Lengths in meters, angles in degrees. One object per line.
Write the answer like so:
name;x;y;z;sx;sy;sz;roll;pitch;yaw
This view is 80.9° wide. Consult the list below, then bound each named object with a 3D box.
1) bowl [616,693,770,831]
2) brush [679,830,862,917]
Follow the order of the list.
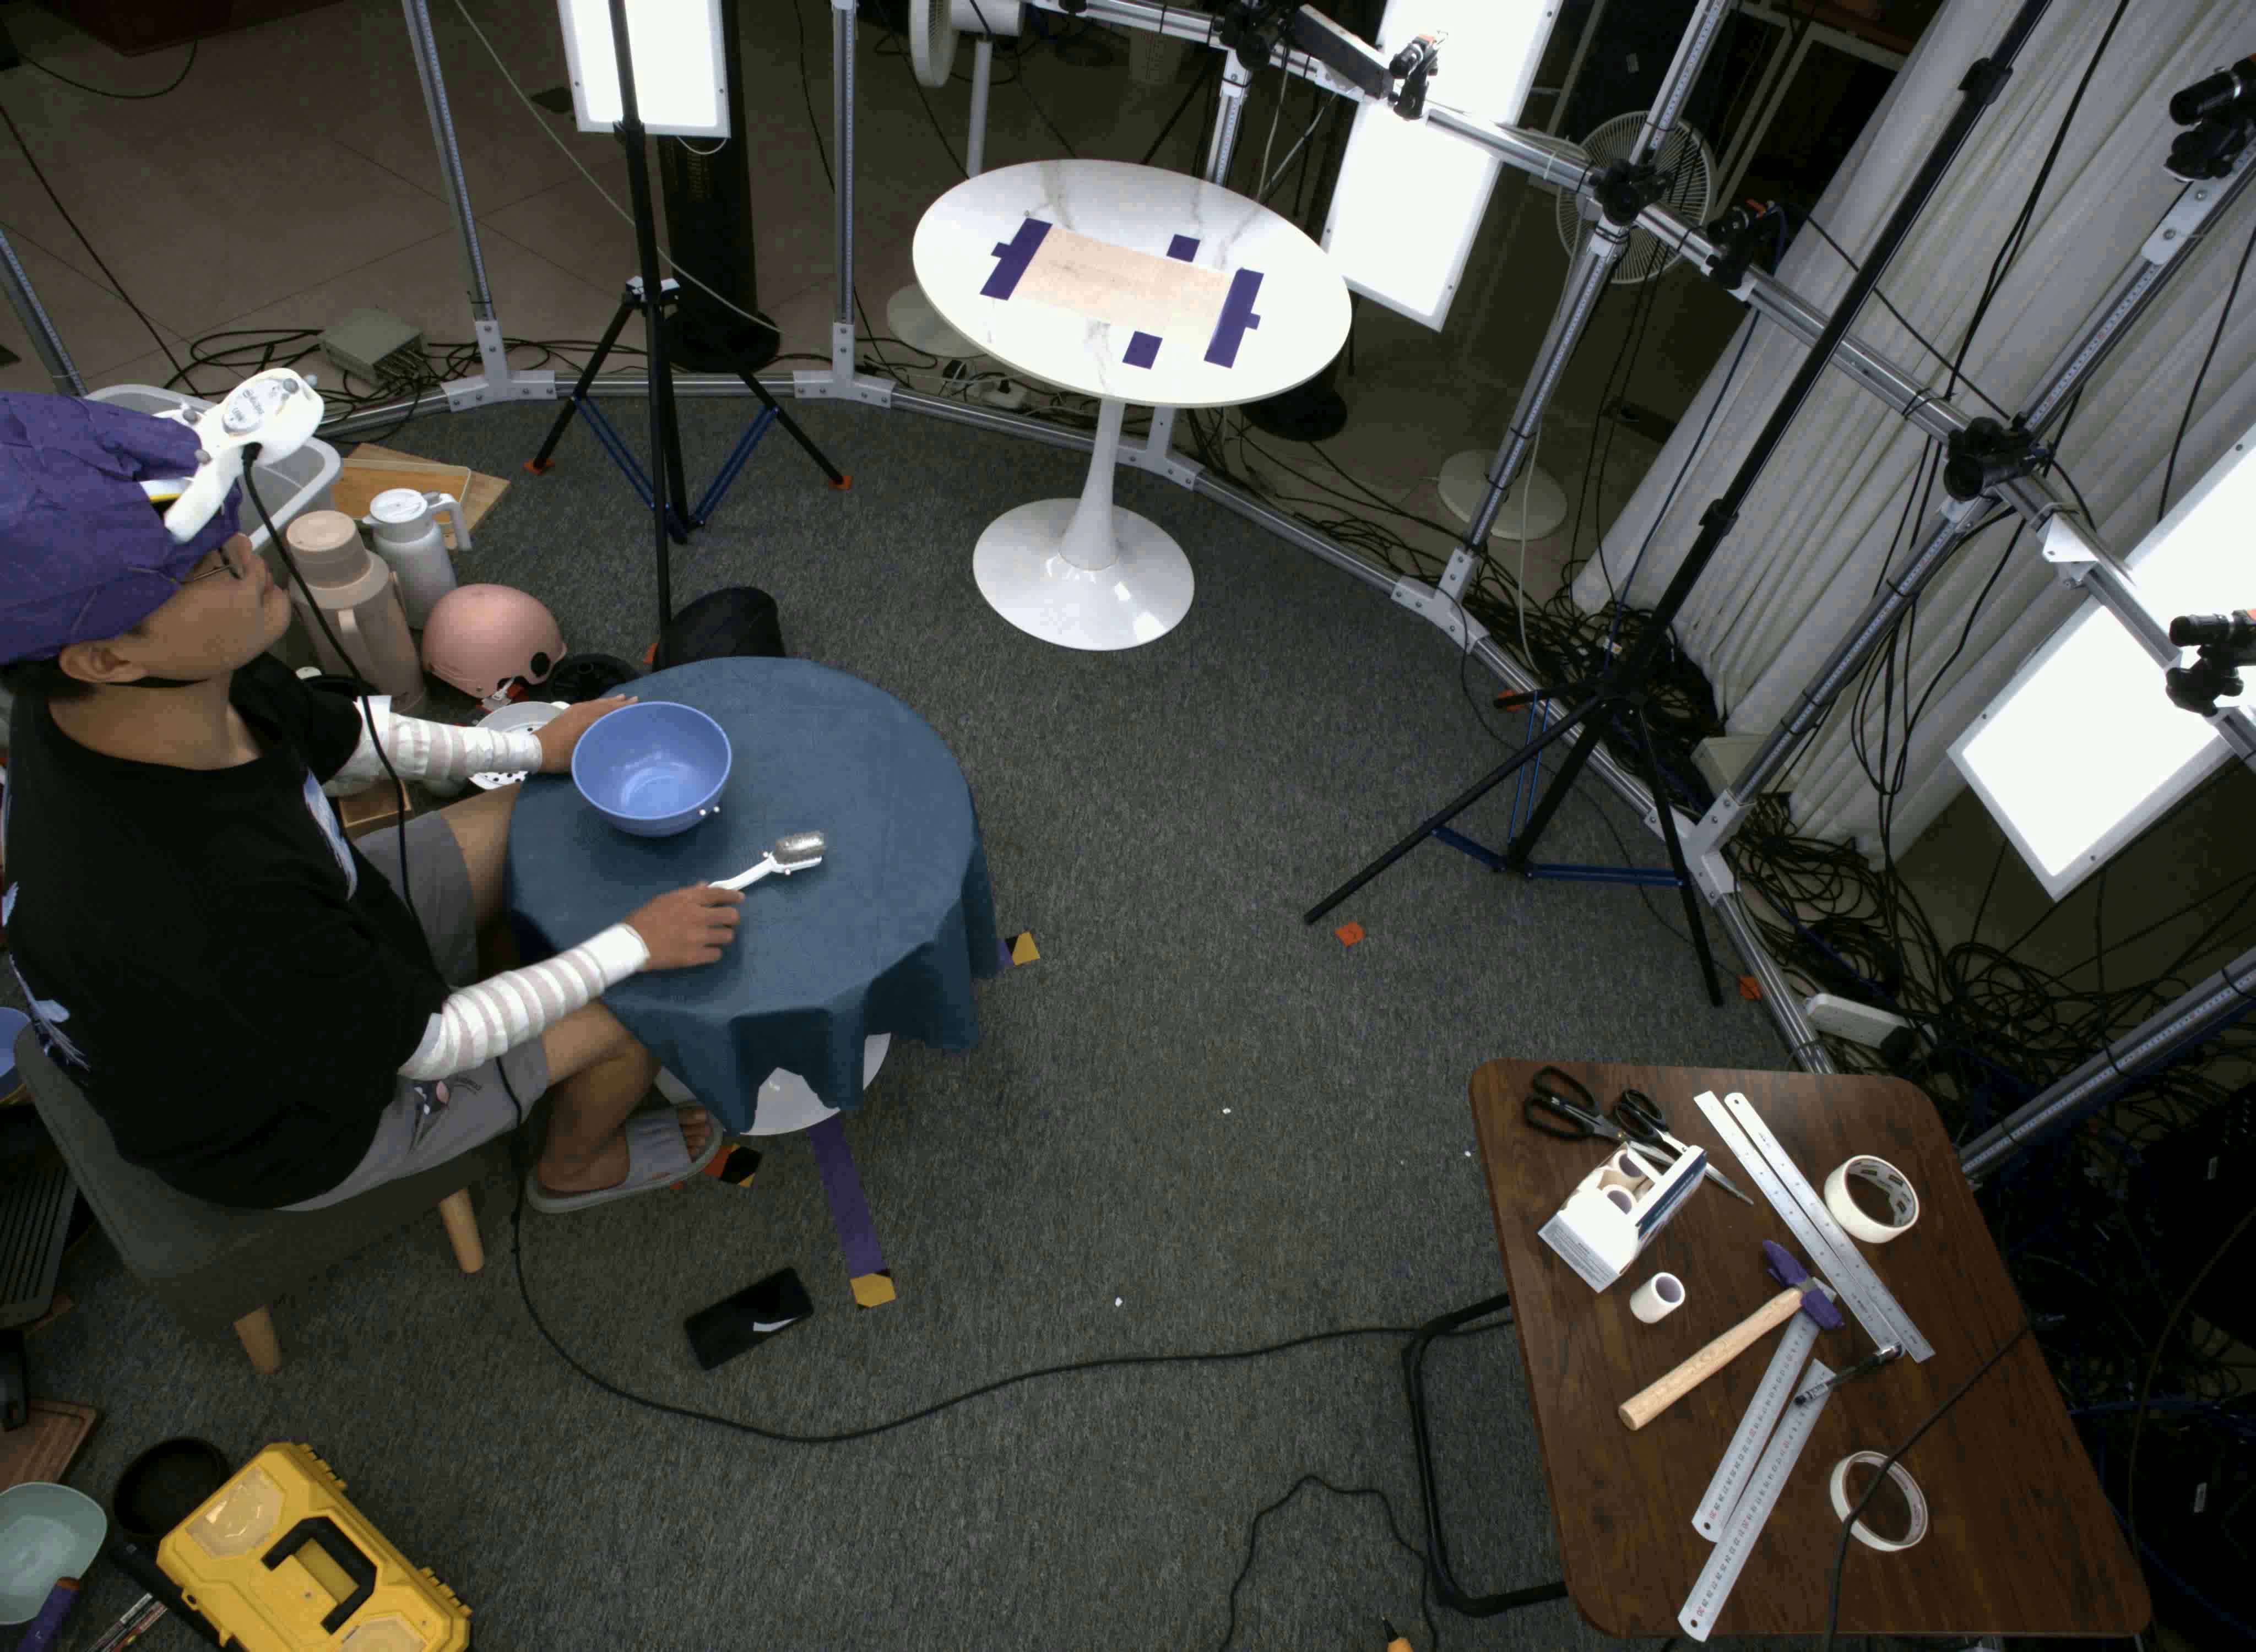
bowl;-0.568;-0.069;1.687;0.196;0.097;0.193;8;53;-9
brush;-0.456;0.056;1.653;0.245;0.051;0.033;-20;61;-26
